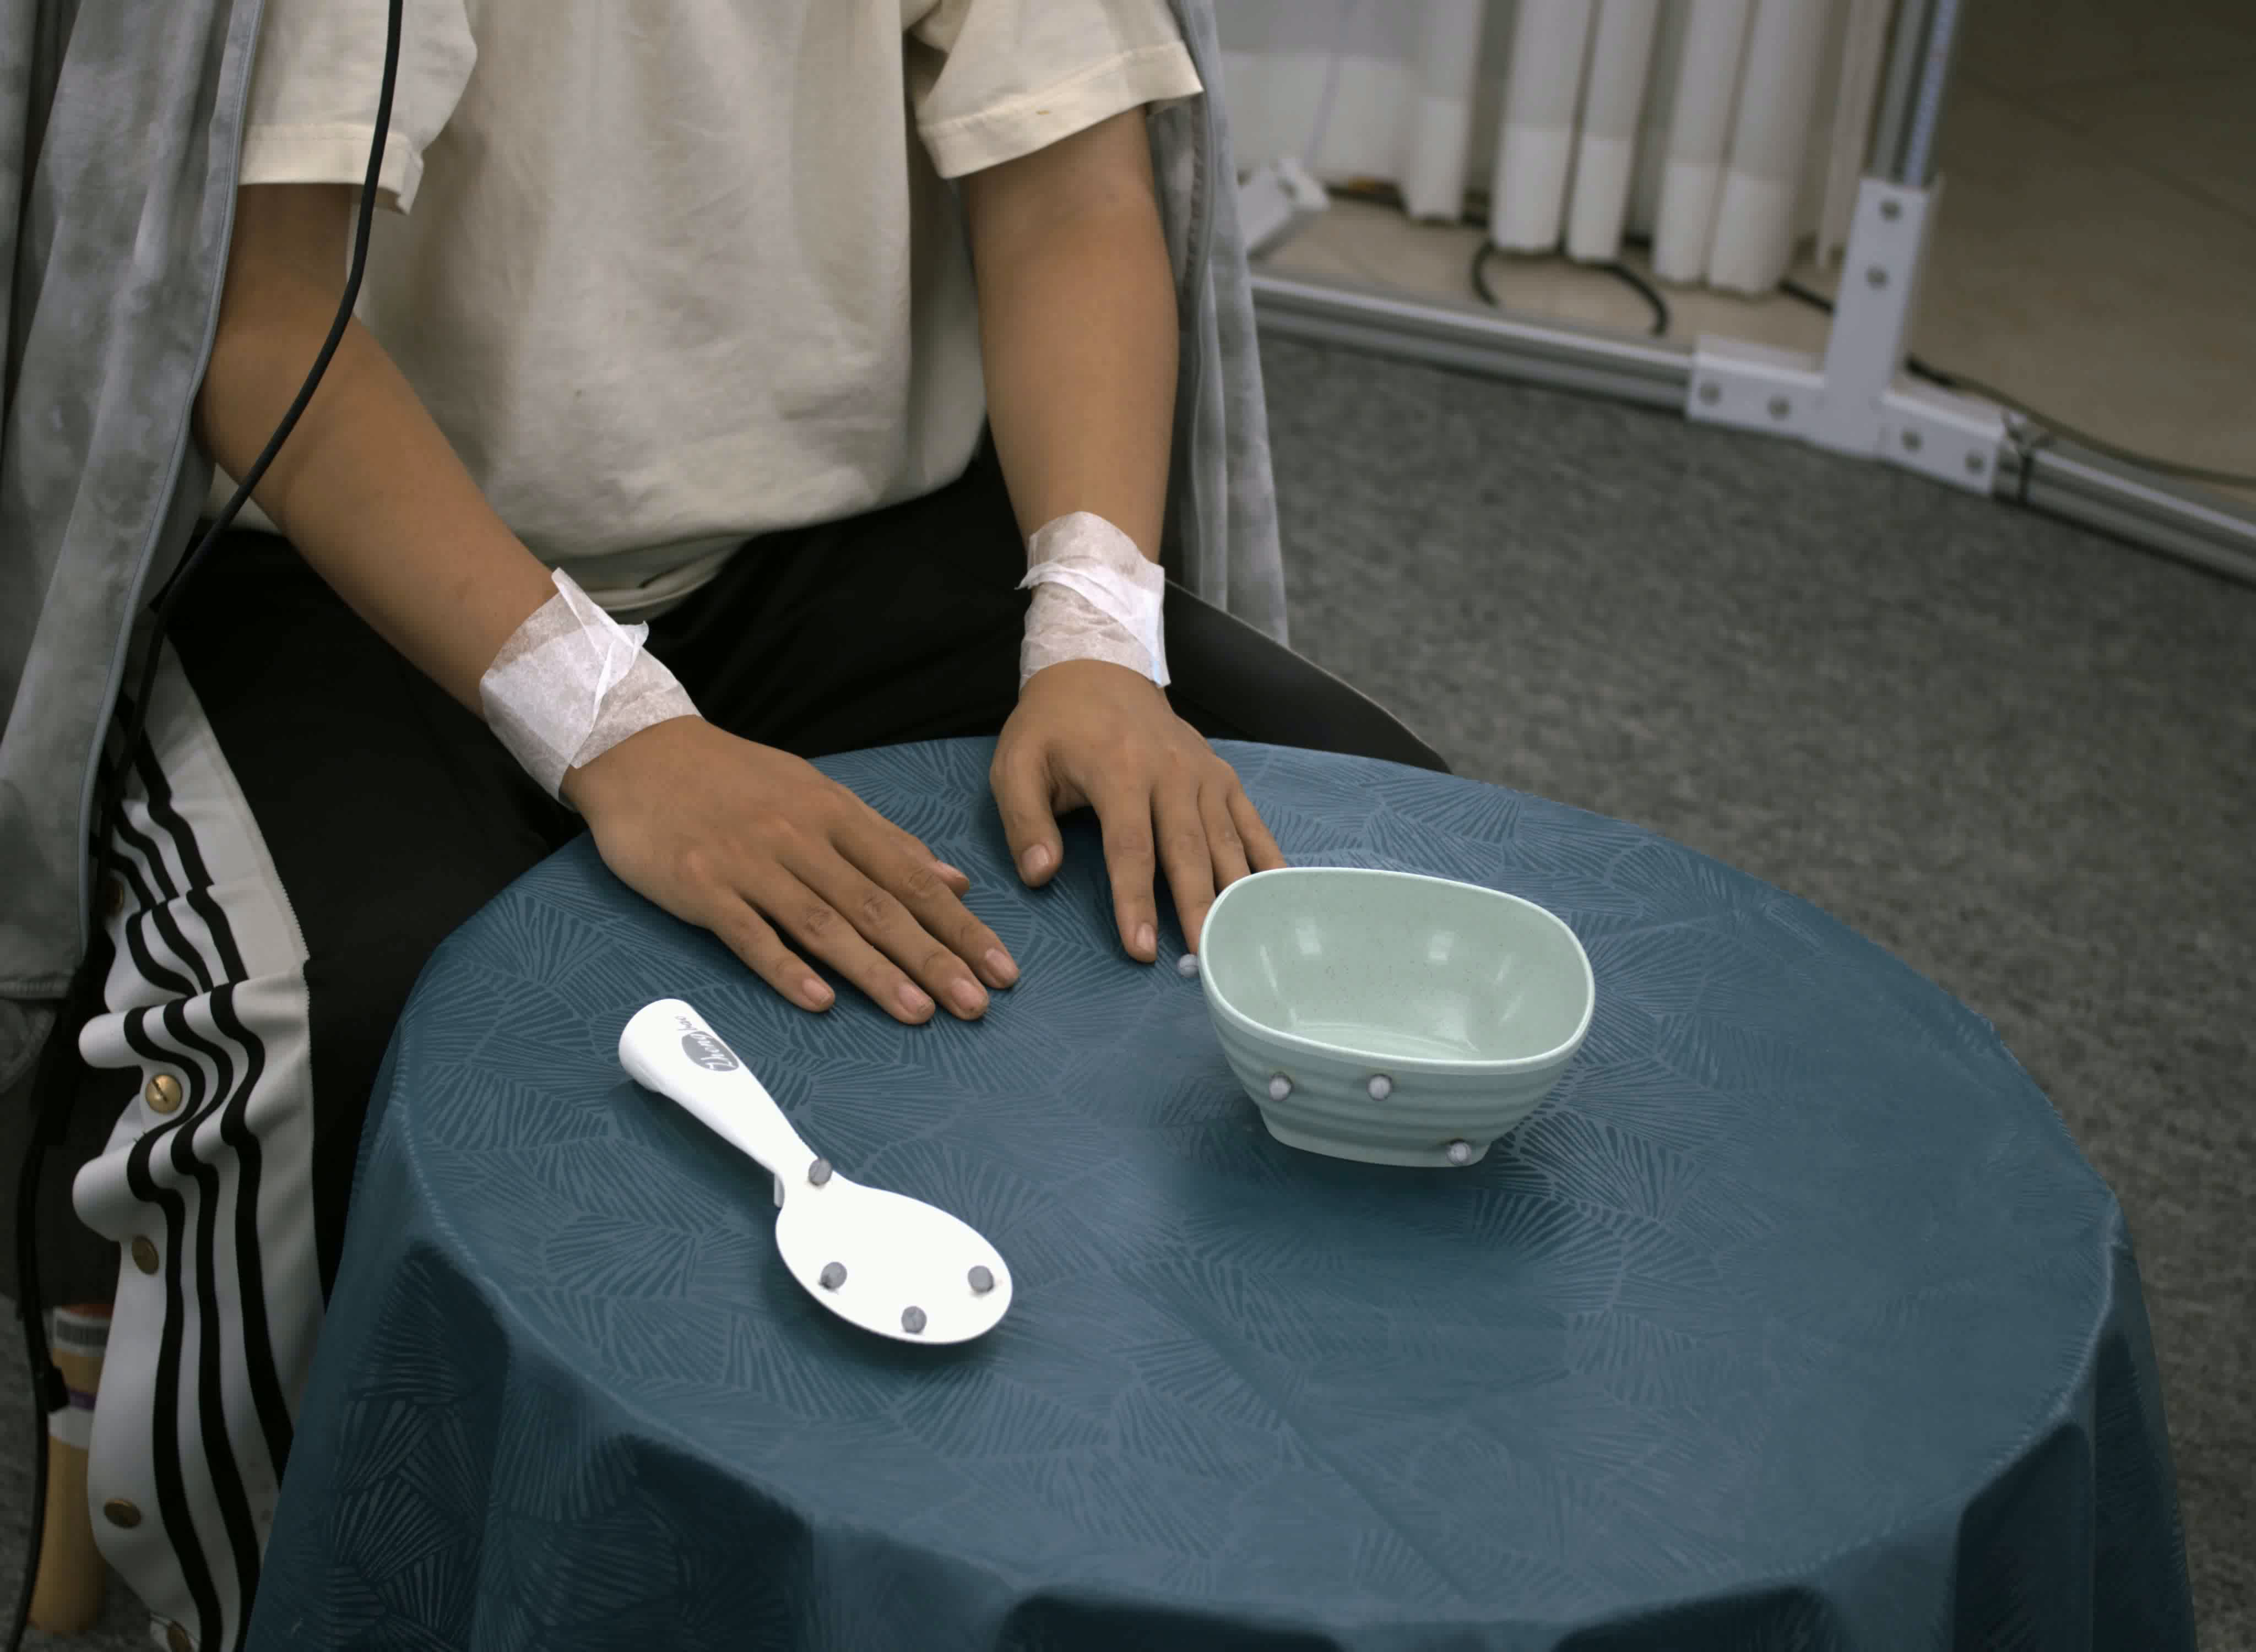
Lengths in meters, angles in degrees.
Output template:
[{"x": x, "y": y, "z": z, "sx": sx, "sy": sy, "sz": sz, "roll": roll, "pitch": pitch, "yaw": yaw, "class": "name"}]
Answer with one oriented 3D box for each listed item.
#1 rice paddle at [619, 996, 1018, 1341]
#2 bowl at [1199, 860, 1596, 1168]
[{"x": -0.105, "y": 0.115, "z": 1.763, "sx": 0.068, "sy": 0.029, "sz": 0.207, "roll": -13, "pitch": 33, "yaw": -31, "class": "rice paddle"}, {"x": 0.091, "y": 0.072, "z": 1.863, "sx": 0.151, "sy": 0.058, "sz": 0.152, "roll": 4, "pitch": 29, "yaw": -3, "class": "bowl"}]
